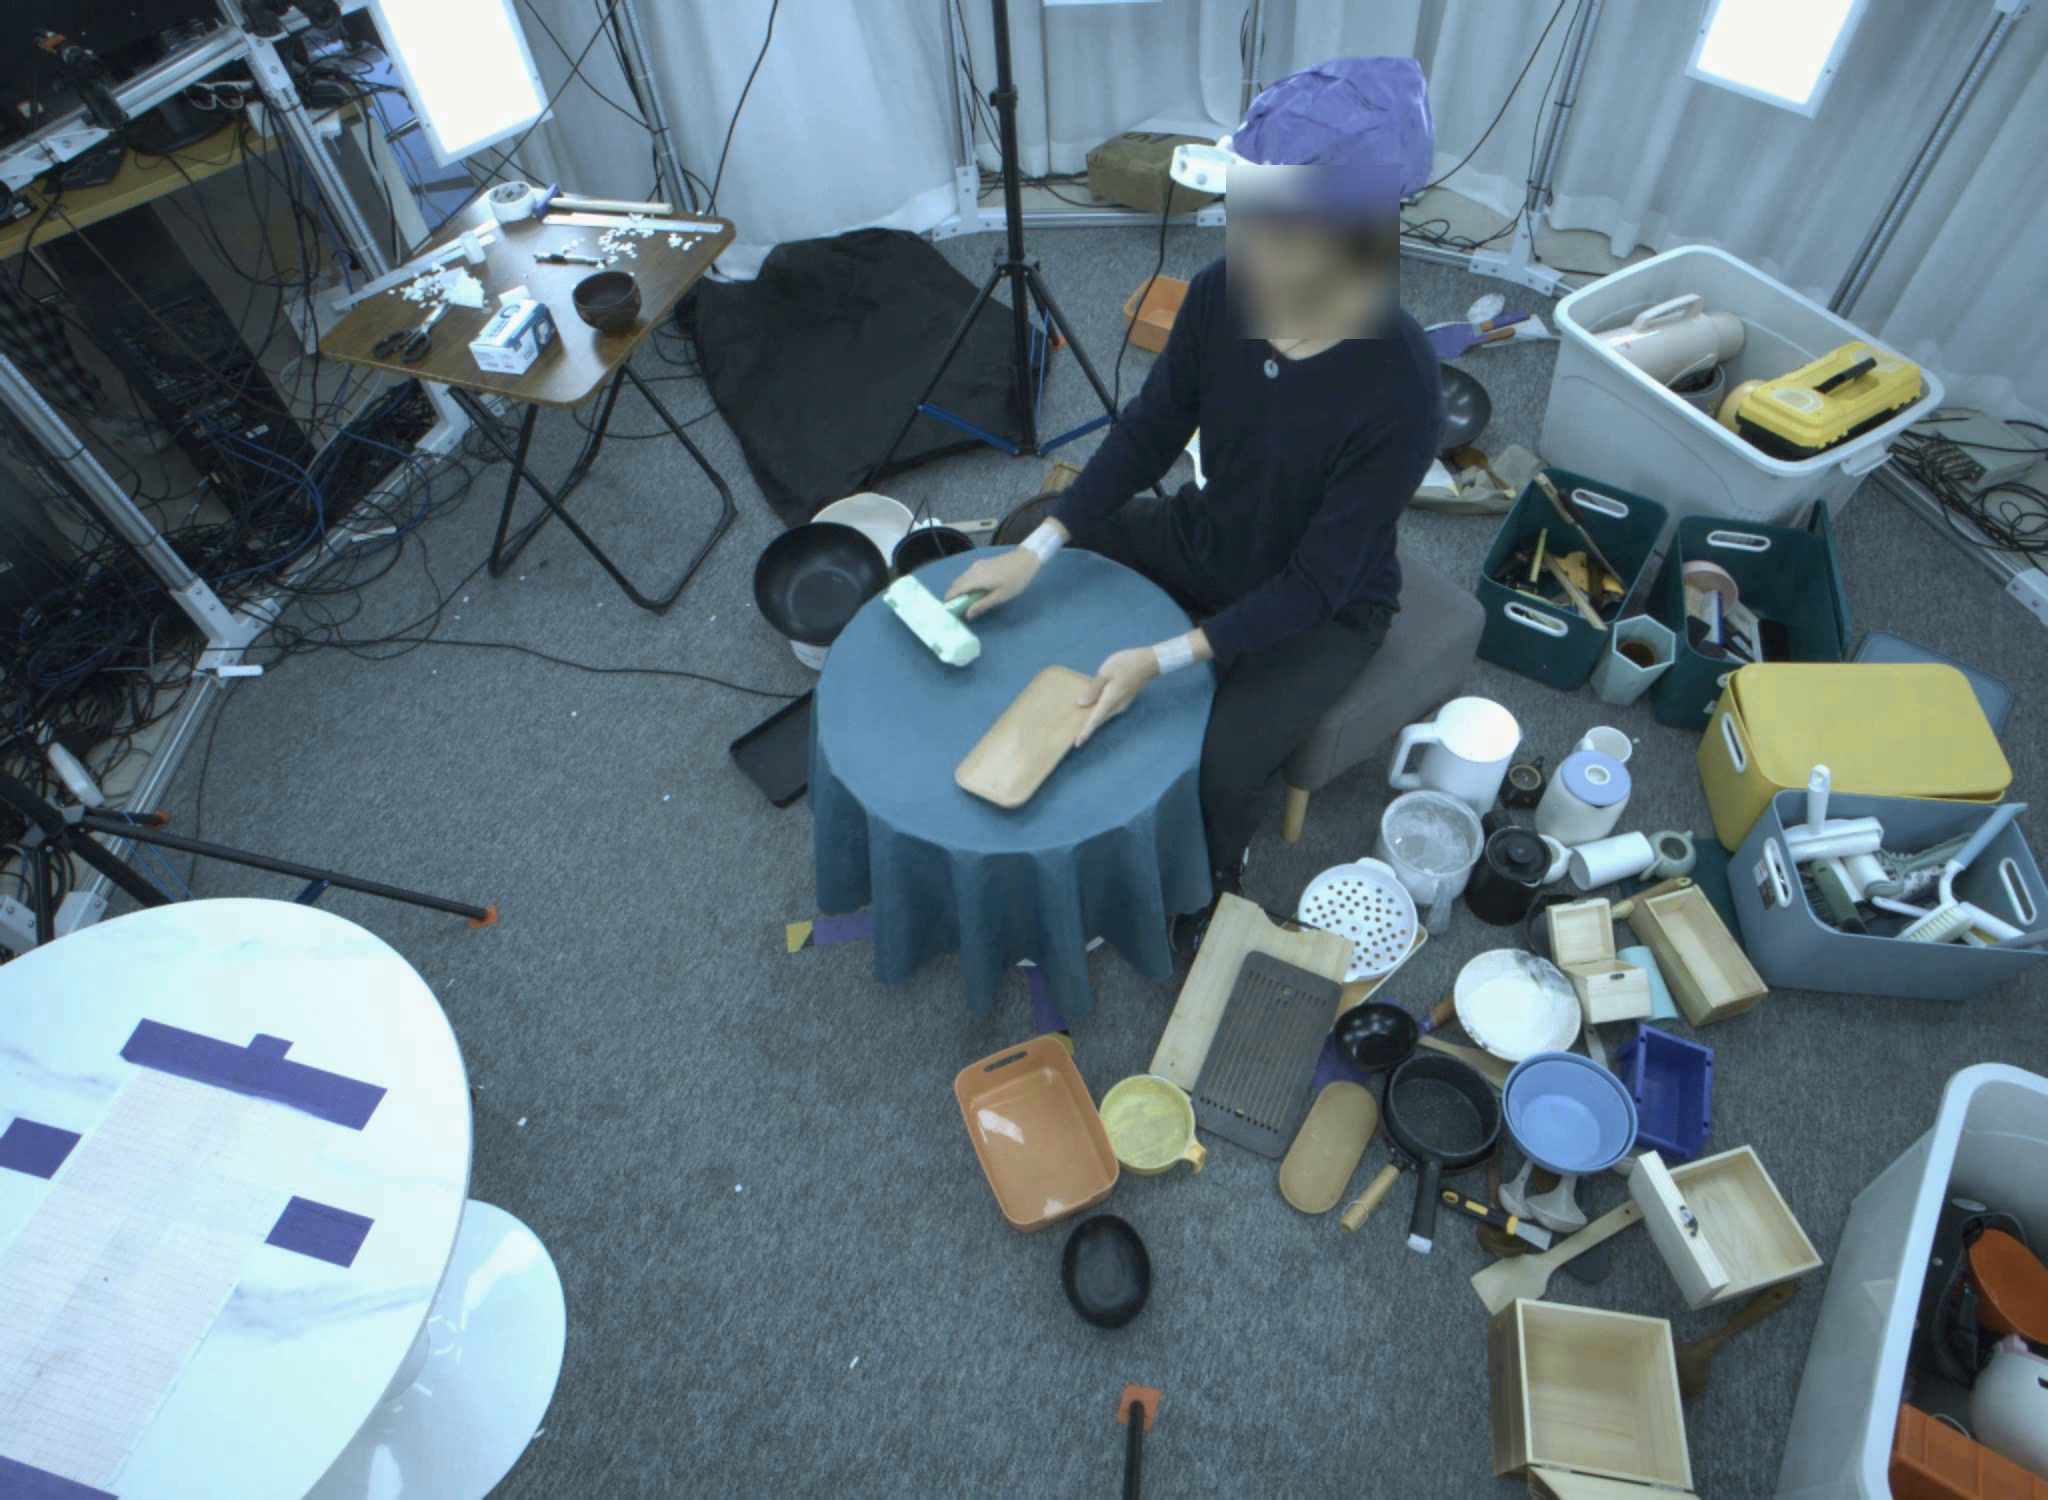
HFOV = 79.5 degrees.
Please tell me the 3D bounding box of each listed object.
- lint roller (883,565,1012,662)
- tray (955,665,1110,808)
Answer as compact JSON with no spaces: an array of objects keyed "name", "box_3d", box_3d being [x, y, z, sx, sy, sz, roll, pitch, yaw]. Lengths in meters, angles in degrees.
[{"name":"lint roller","box_3d":[-0.101,-0.243,1.887,0.184,0.083,0.194,-40,56,-8]},{"name":"tray","box_3d":[0.014,-0.022,1.771,0.128,0.023,0.252,25,61,30]}]
